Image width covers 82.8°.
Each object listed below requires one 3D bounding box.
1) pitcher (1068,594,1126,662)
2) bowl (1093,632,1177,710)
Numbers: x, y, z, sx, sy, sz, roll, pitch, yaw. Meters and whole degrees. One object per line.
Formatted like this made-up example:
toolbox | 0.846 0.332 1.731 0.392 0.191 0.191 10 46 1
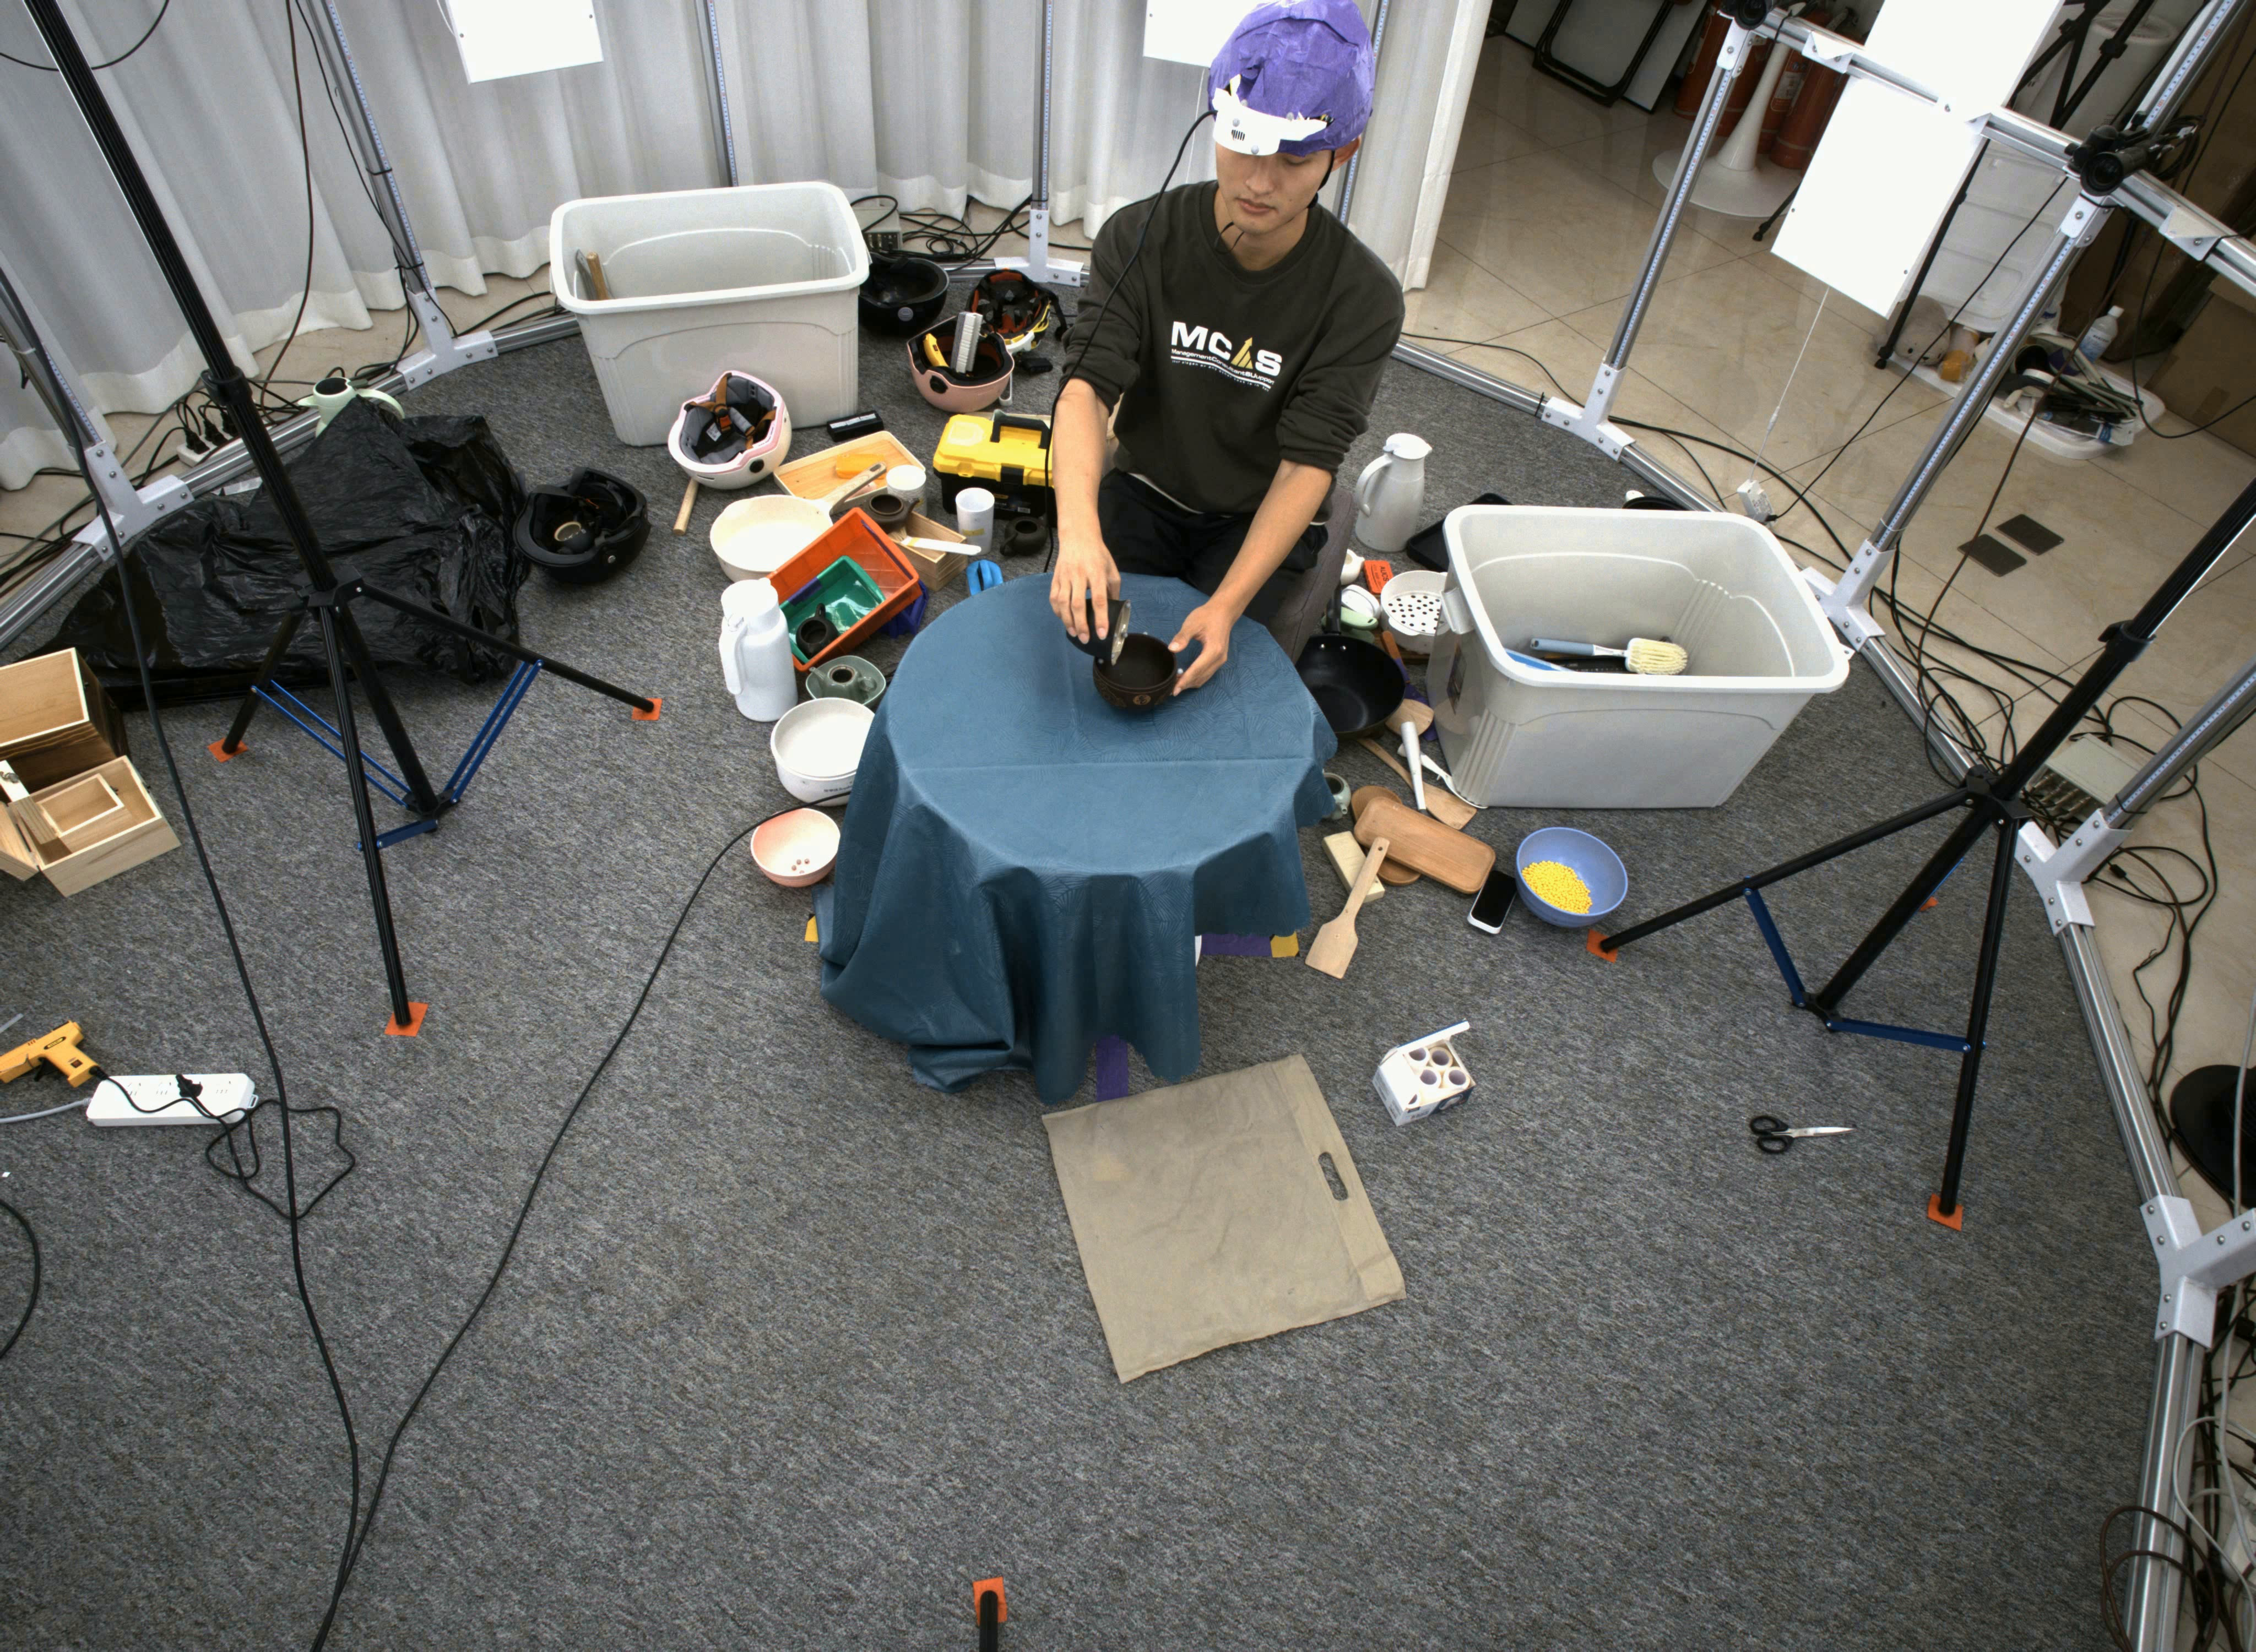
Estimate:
pitcher | -0.042 -0.273 1.756 0.071 0.094 0.085 14 39 4
bowl | 0.009 -0.210 1.802 0.118 0.068 0.121 1 51 -1
